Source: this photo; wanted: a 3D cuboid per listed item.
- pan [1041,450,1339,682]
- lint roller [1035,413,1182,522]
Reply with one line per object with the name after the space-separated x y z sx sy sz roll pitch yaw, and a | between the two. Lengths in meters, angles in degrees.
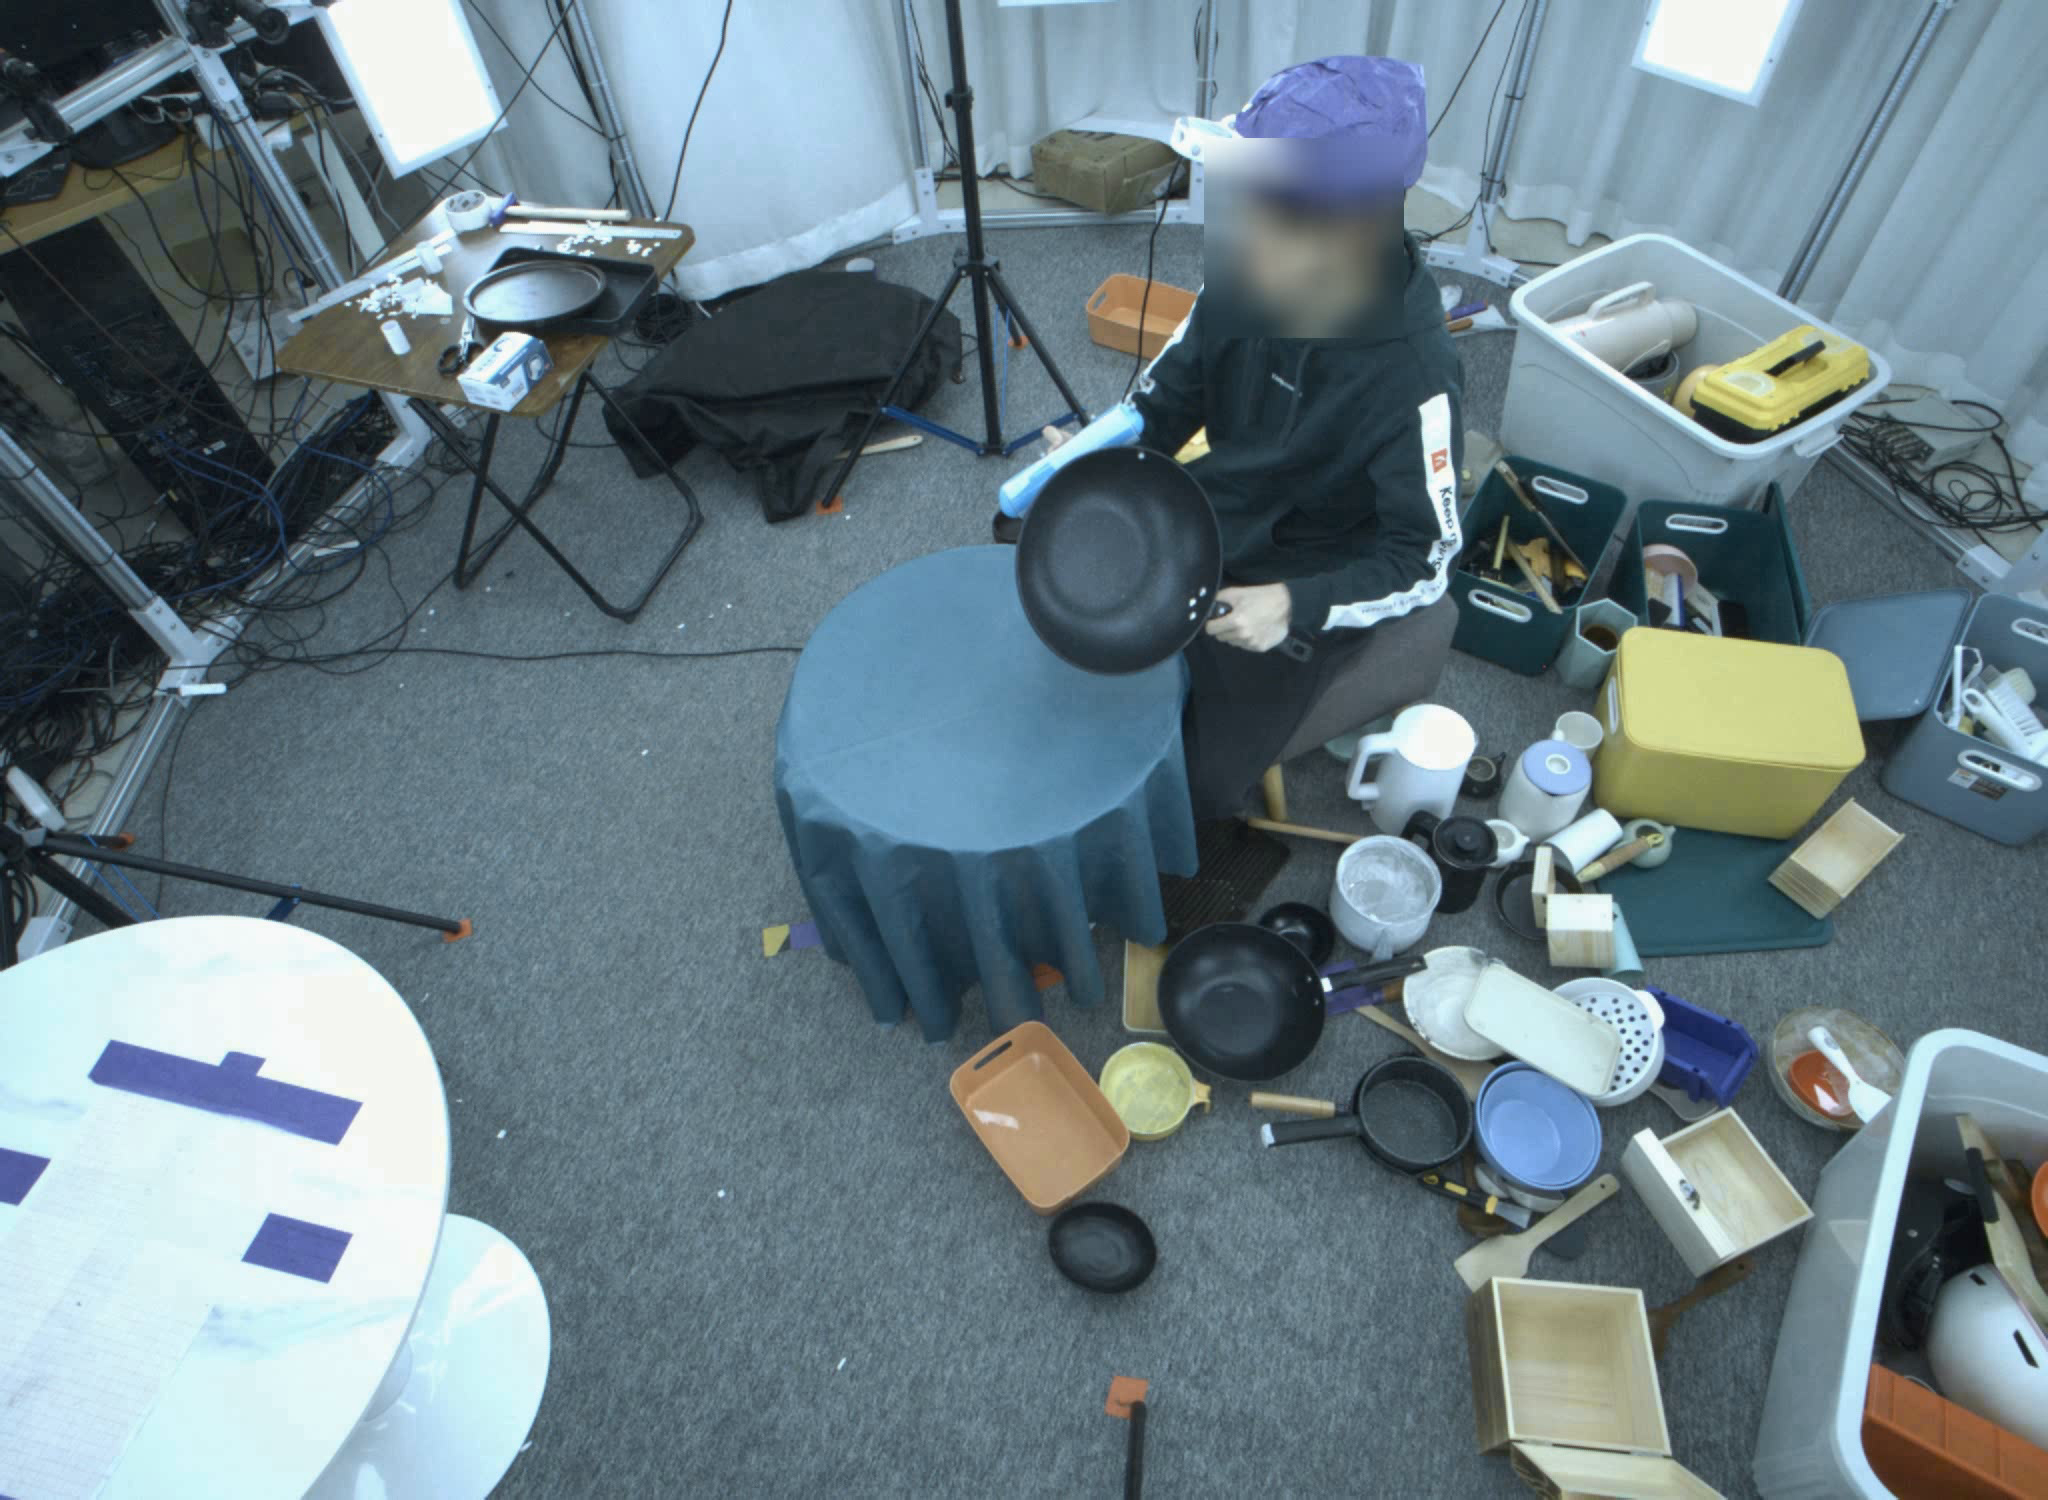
0.229 -0.219 1.698 0.486 0.109 0.310 23 94 -25 | pan
0.118 -0.394 1.720 0.228 0.180 0.068 -34 96 9 | lint roller
